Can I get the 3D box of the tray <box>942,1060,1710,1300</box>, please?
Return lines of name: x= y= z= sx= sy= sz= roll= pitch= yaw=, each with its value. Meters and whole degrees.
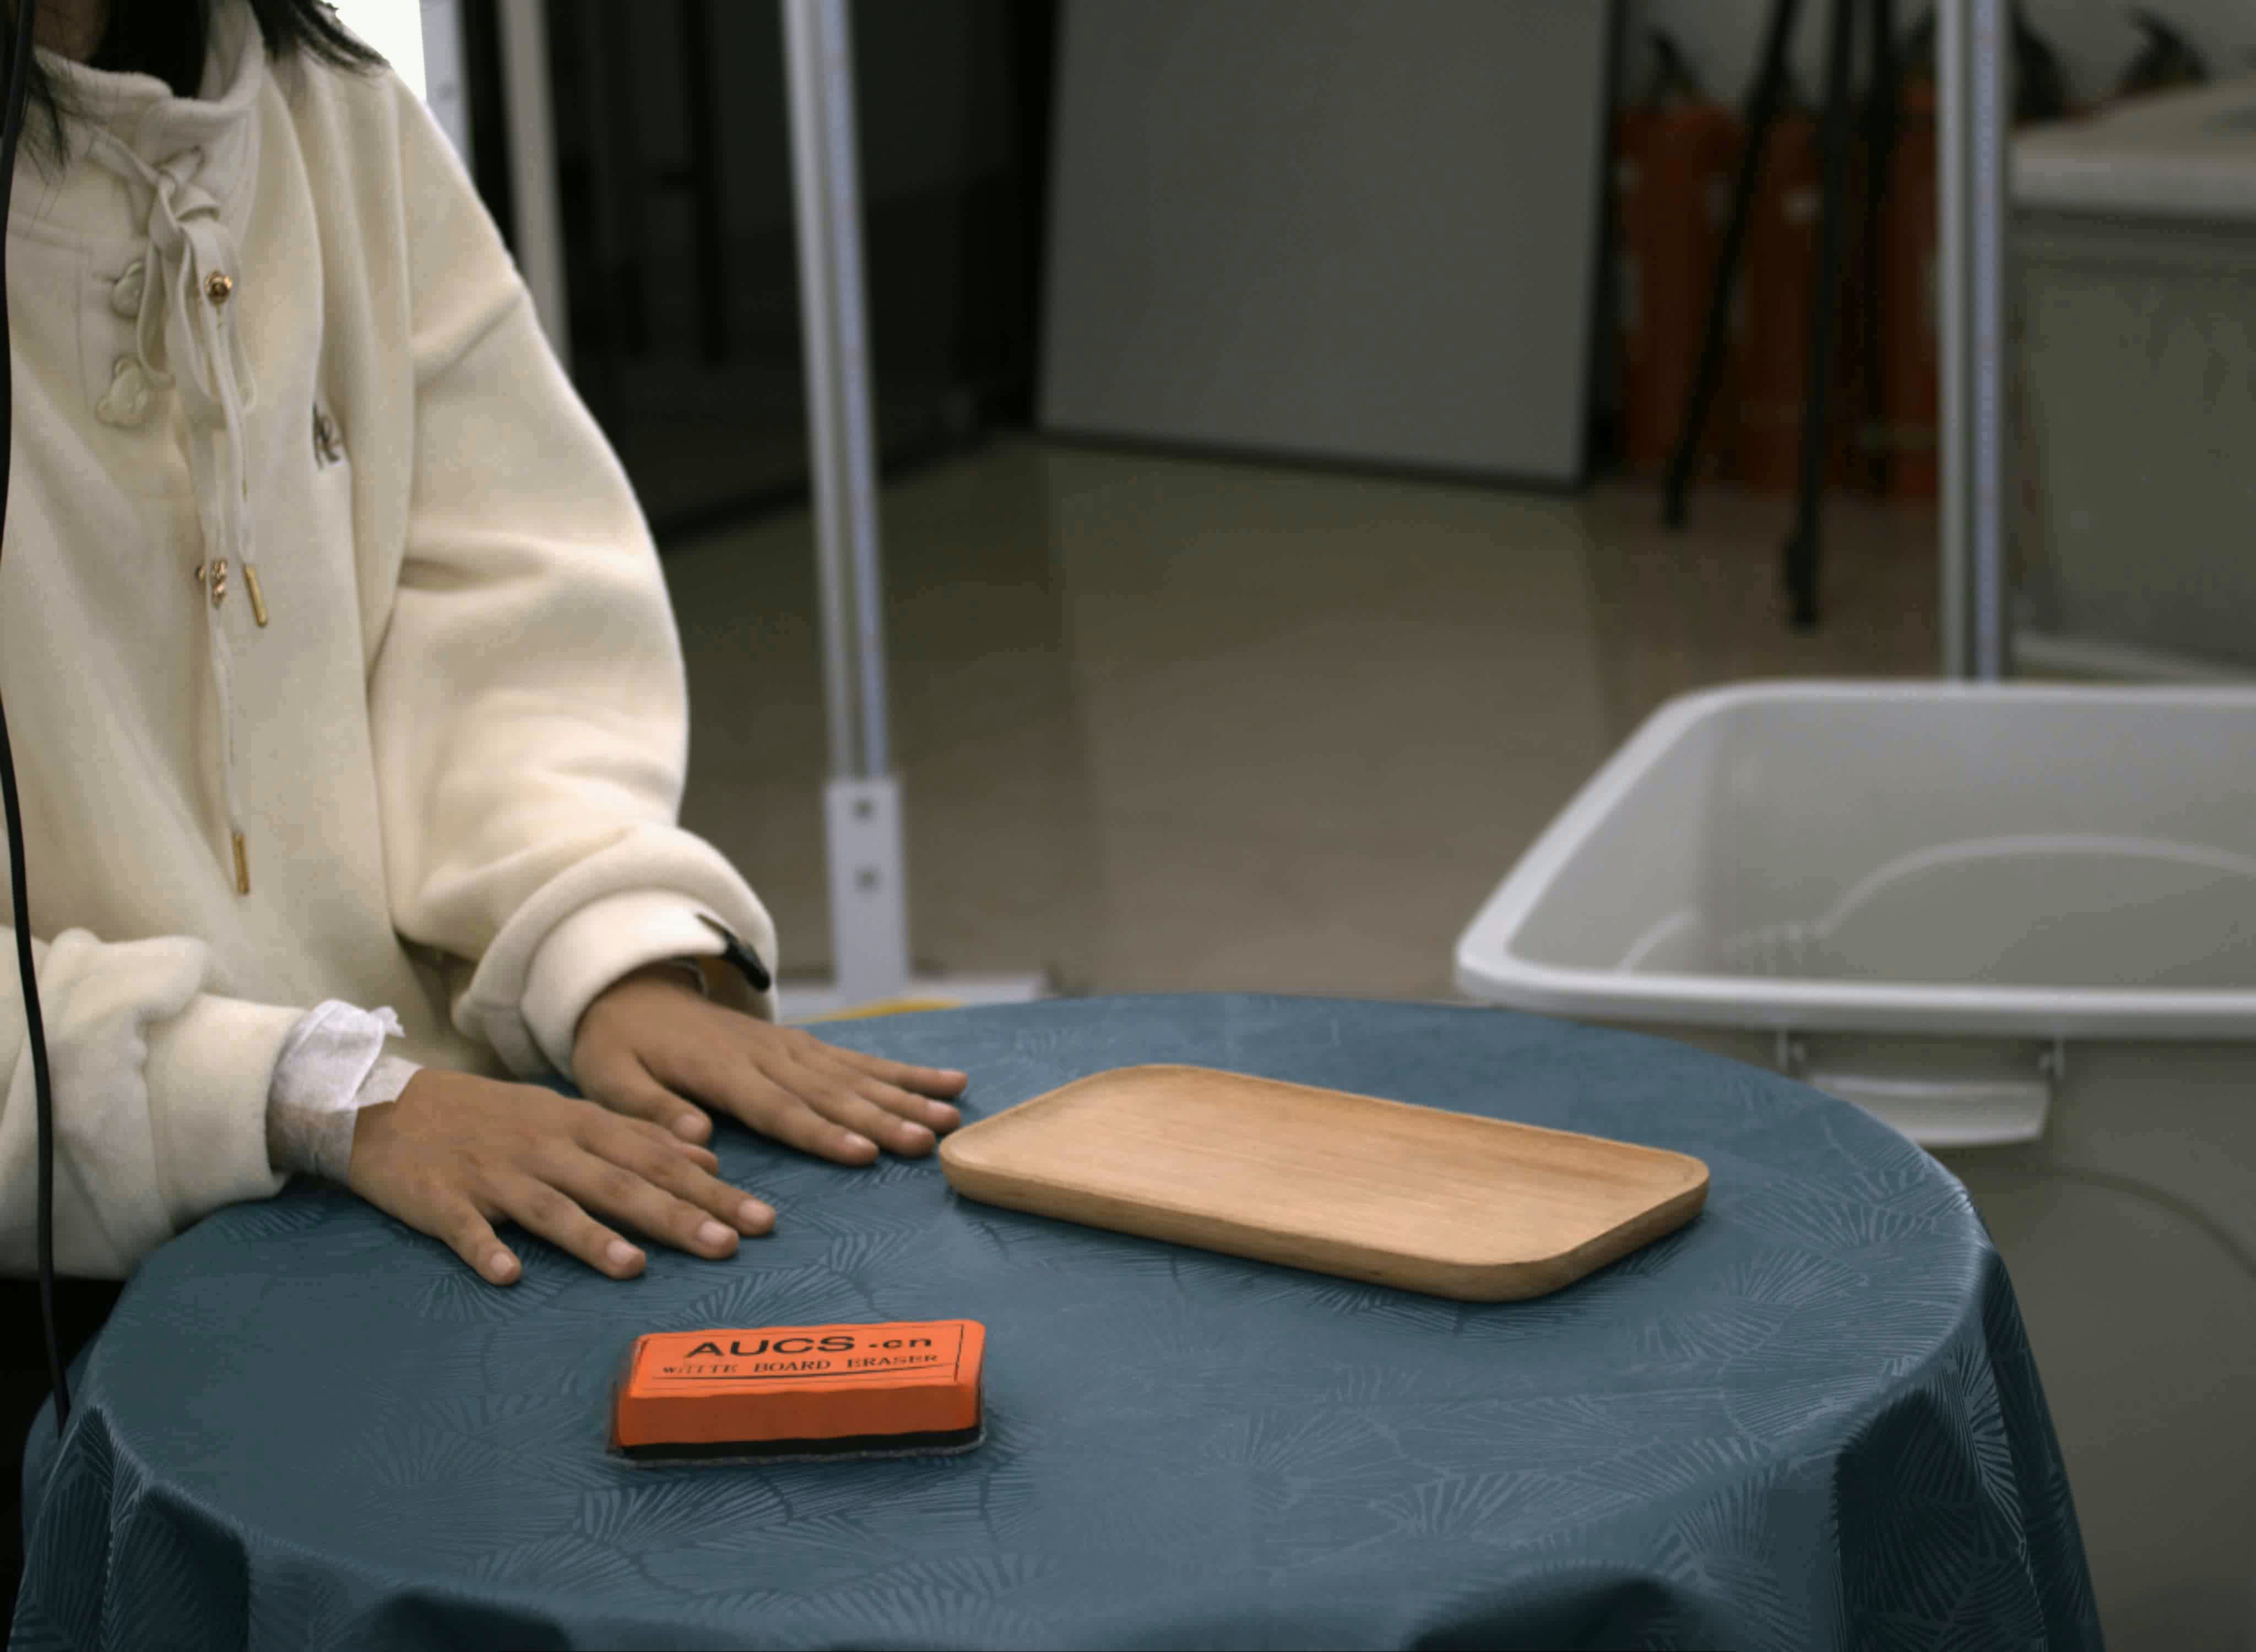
tray: x=0.062 y=0.113 z=1.746 sx=0.253 sy=0.023 sz=0.128 roll=8 pitch=15 yaw=41

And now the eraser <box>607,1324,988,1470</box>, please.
eraser: x=-0.095 y=0.166 z=1.568 sx=0.107 sy=0.023 sz=0.059 roll=-3 pitch=15 yaw=5
